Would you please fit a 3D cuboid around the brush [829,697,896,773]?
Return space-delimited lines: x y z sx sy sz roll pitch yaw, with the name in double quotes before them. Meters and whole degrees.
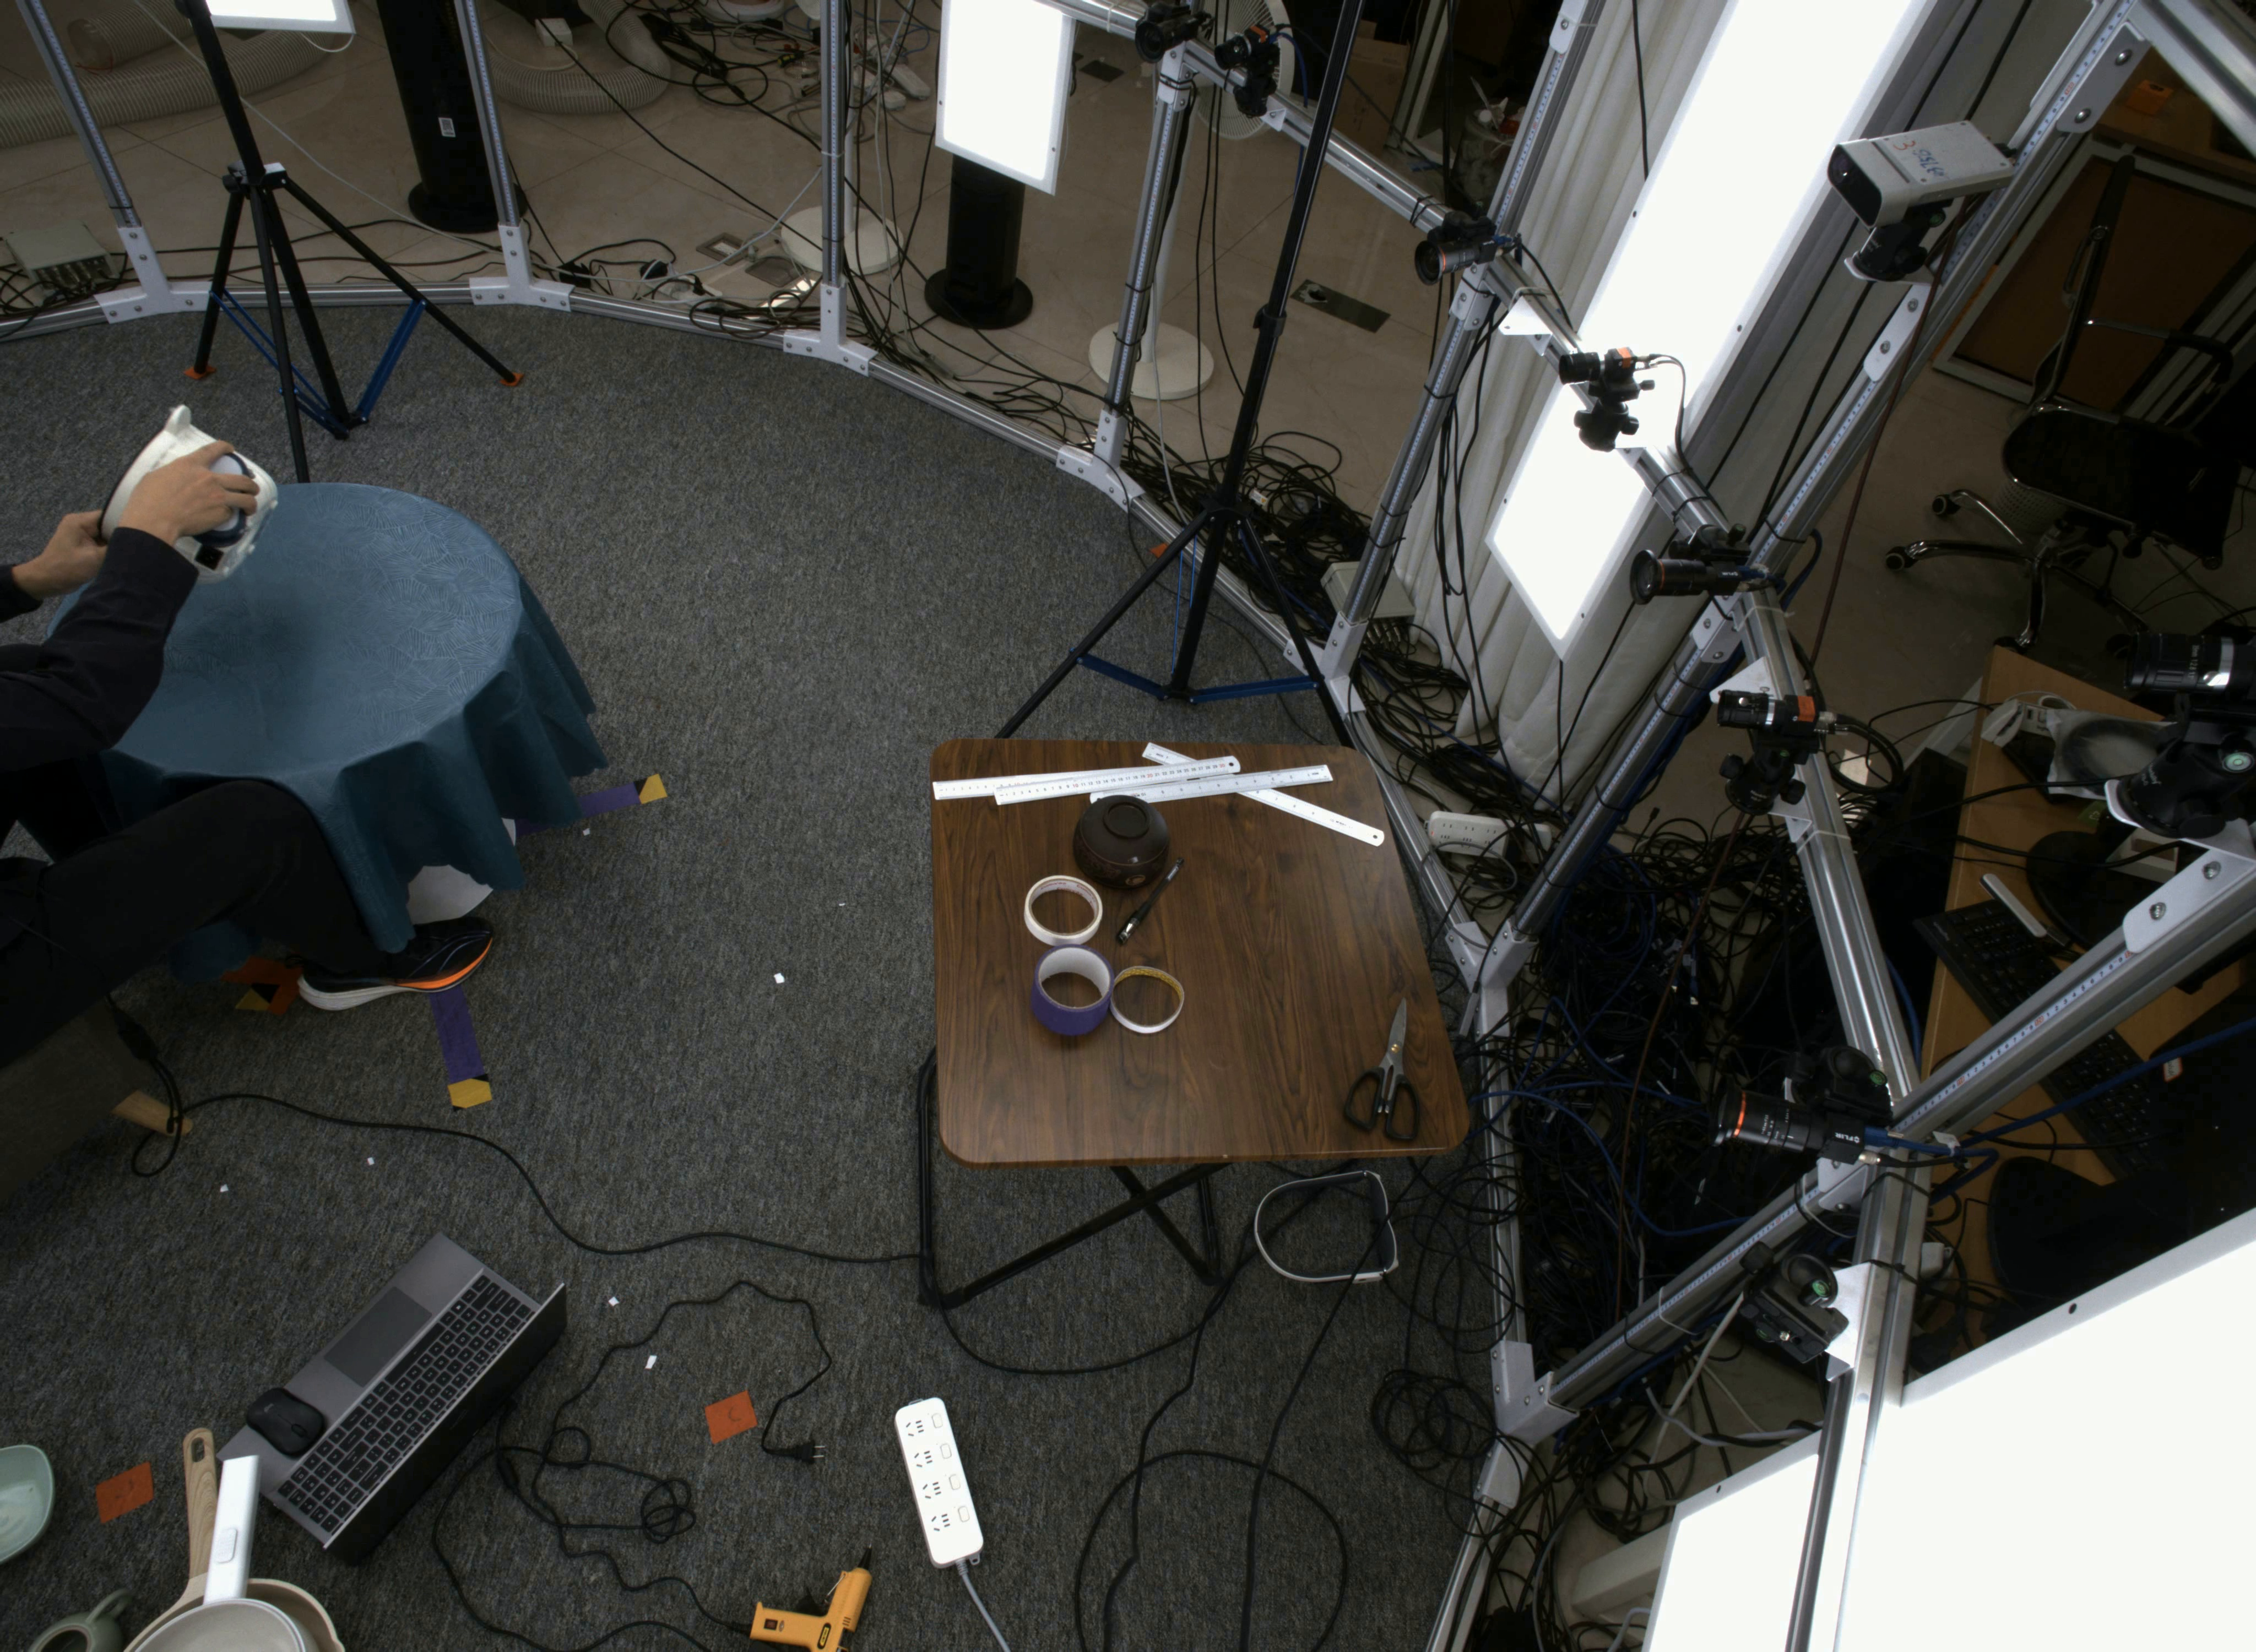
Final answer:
"brush" -0.387 -0.131 1.892 0.068 0.061 0.121 38 55 -5

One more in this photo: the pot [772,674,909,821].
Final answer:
"pot" -0.435 -0.103 2.015 0.141 0.240 0.193 50 17 13
